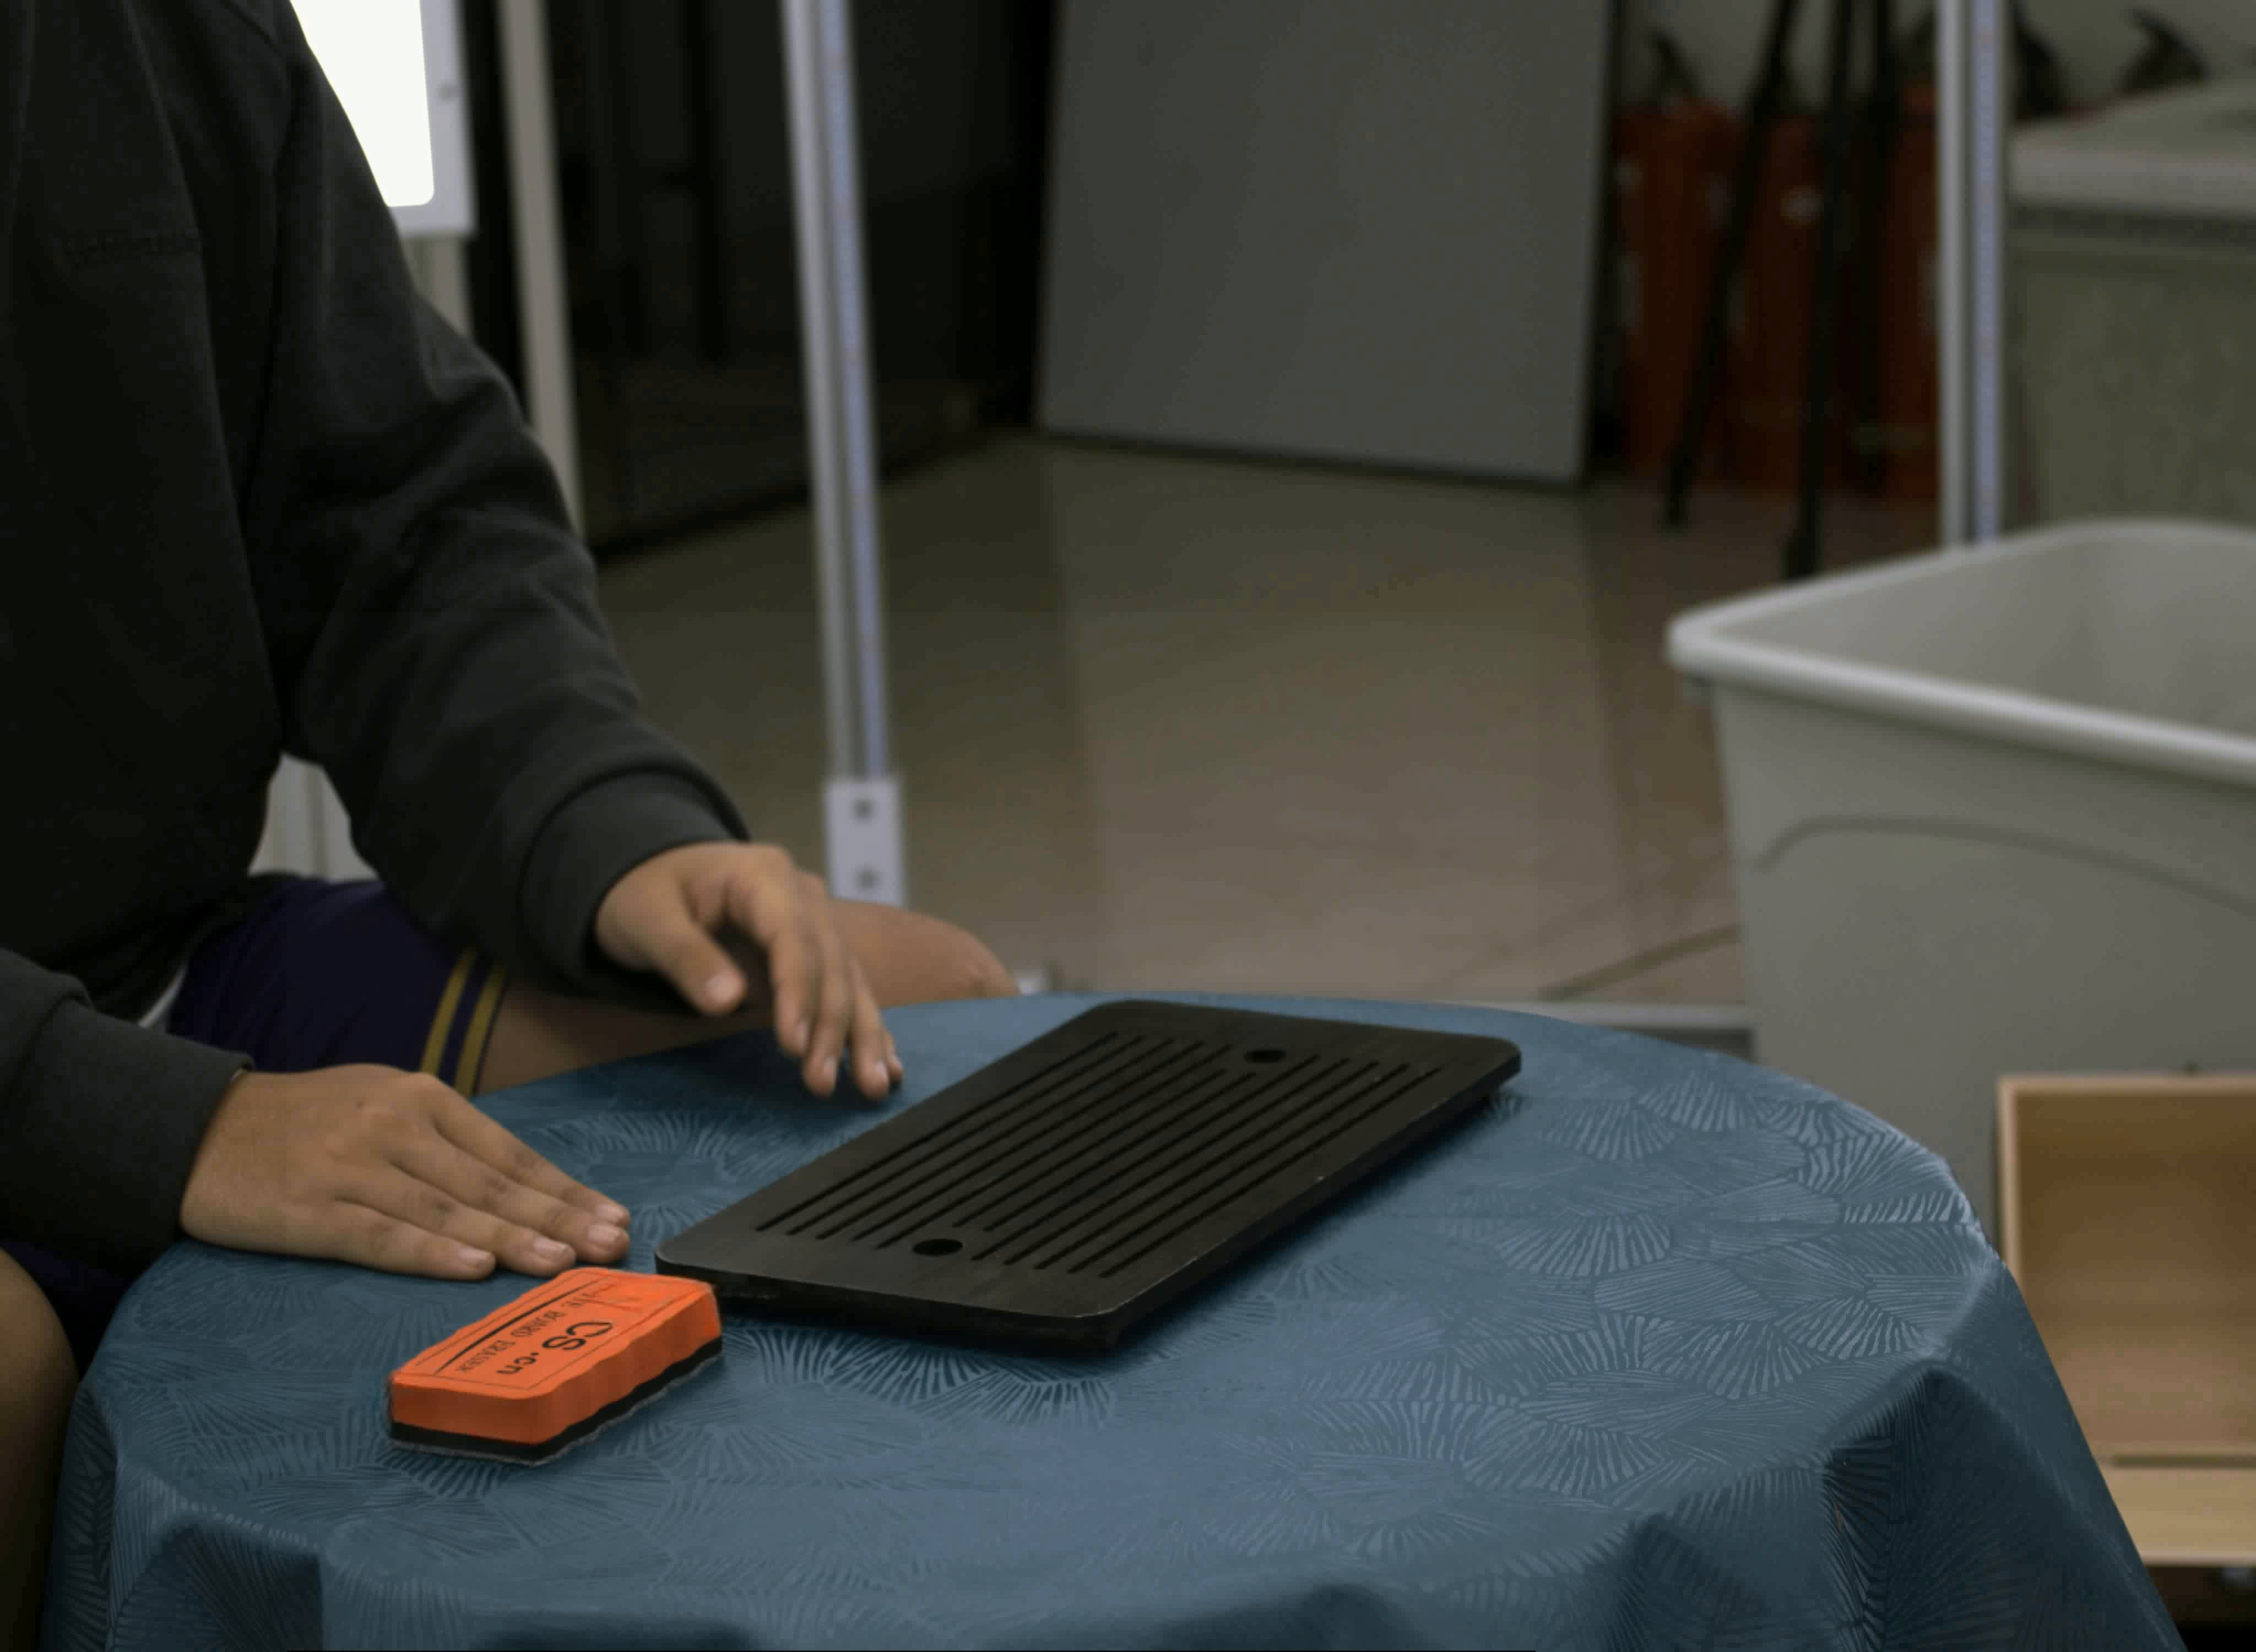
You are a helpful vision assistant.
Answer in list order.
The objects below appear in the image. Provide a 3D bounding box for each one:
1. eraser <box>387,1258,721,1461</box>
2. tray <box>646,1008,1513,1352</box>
[{"bbox_3d":[-0.169,0.157,1.605,0.059,0.023,0.106,3,17,28],"label":"eraser"},{"bbox_3d":[-0.009,0.113,1.767,0.171,0.019,0.301,4,16,30],"label":"tray"}]
